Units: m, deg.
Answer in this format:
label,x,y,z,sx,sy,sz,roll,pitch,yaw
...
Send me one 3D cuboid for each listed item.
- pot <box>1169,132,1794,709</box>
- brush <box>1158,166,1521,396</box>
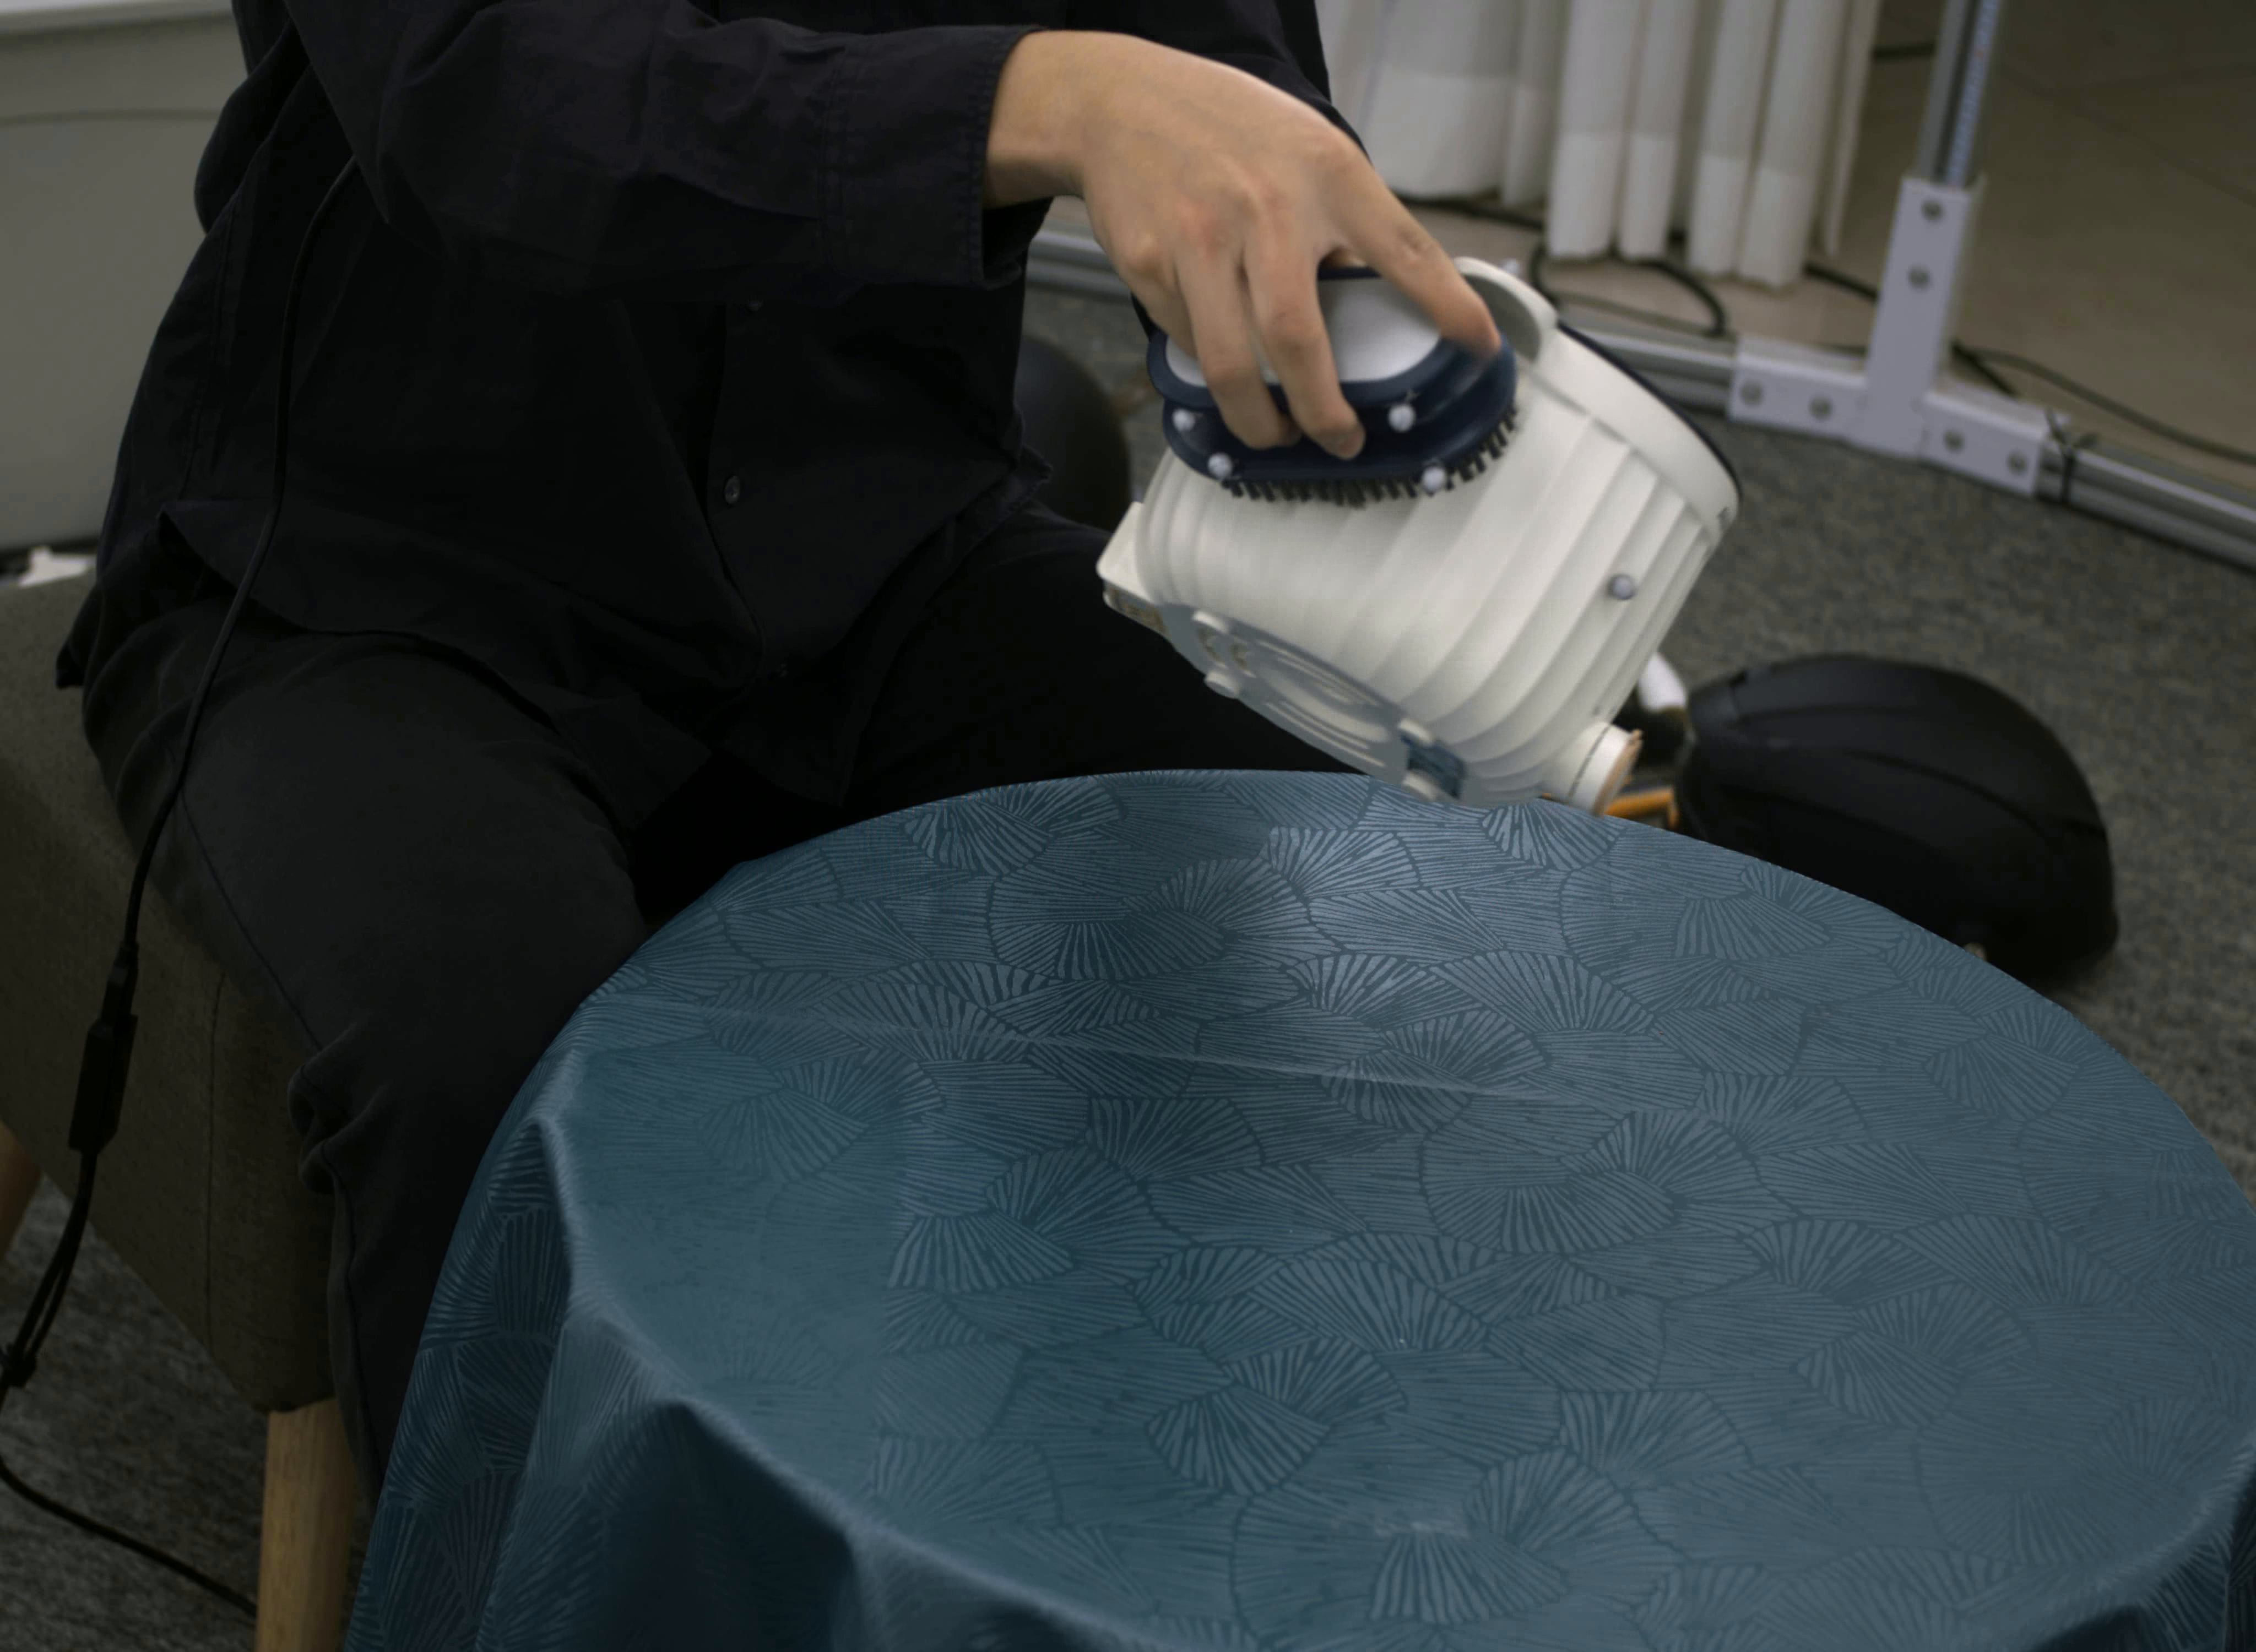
label,x,y,z,sx,sy,sz,roll,pitch,yaw
pot,0.125,-0.131,1.847,0.191,0.143,0.239,26,-10,9
brush,0.070,-0.176,1.738,0.122,0.060,0.068,6,61,29
